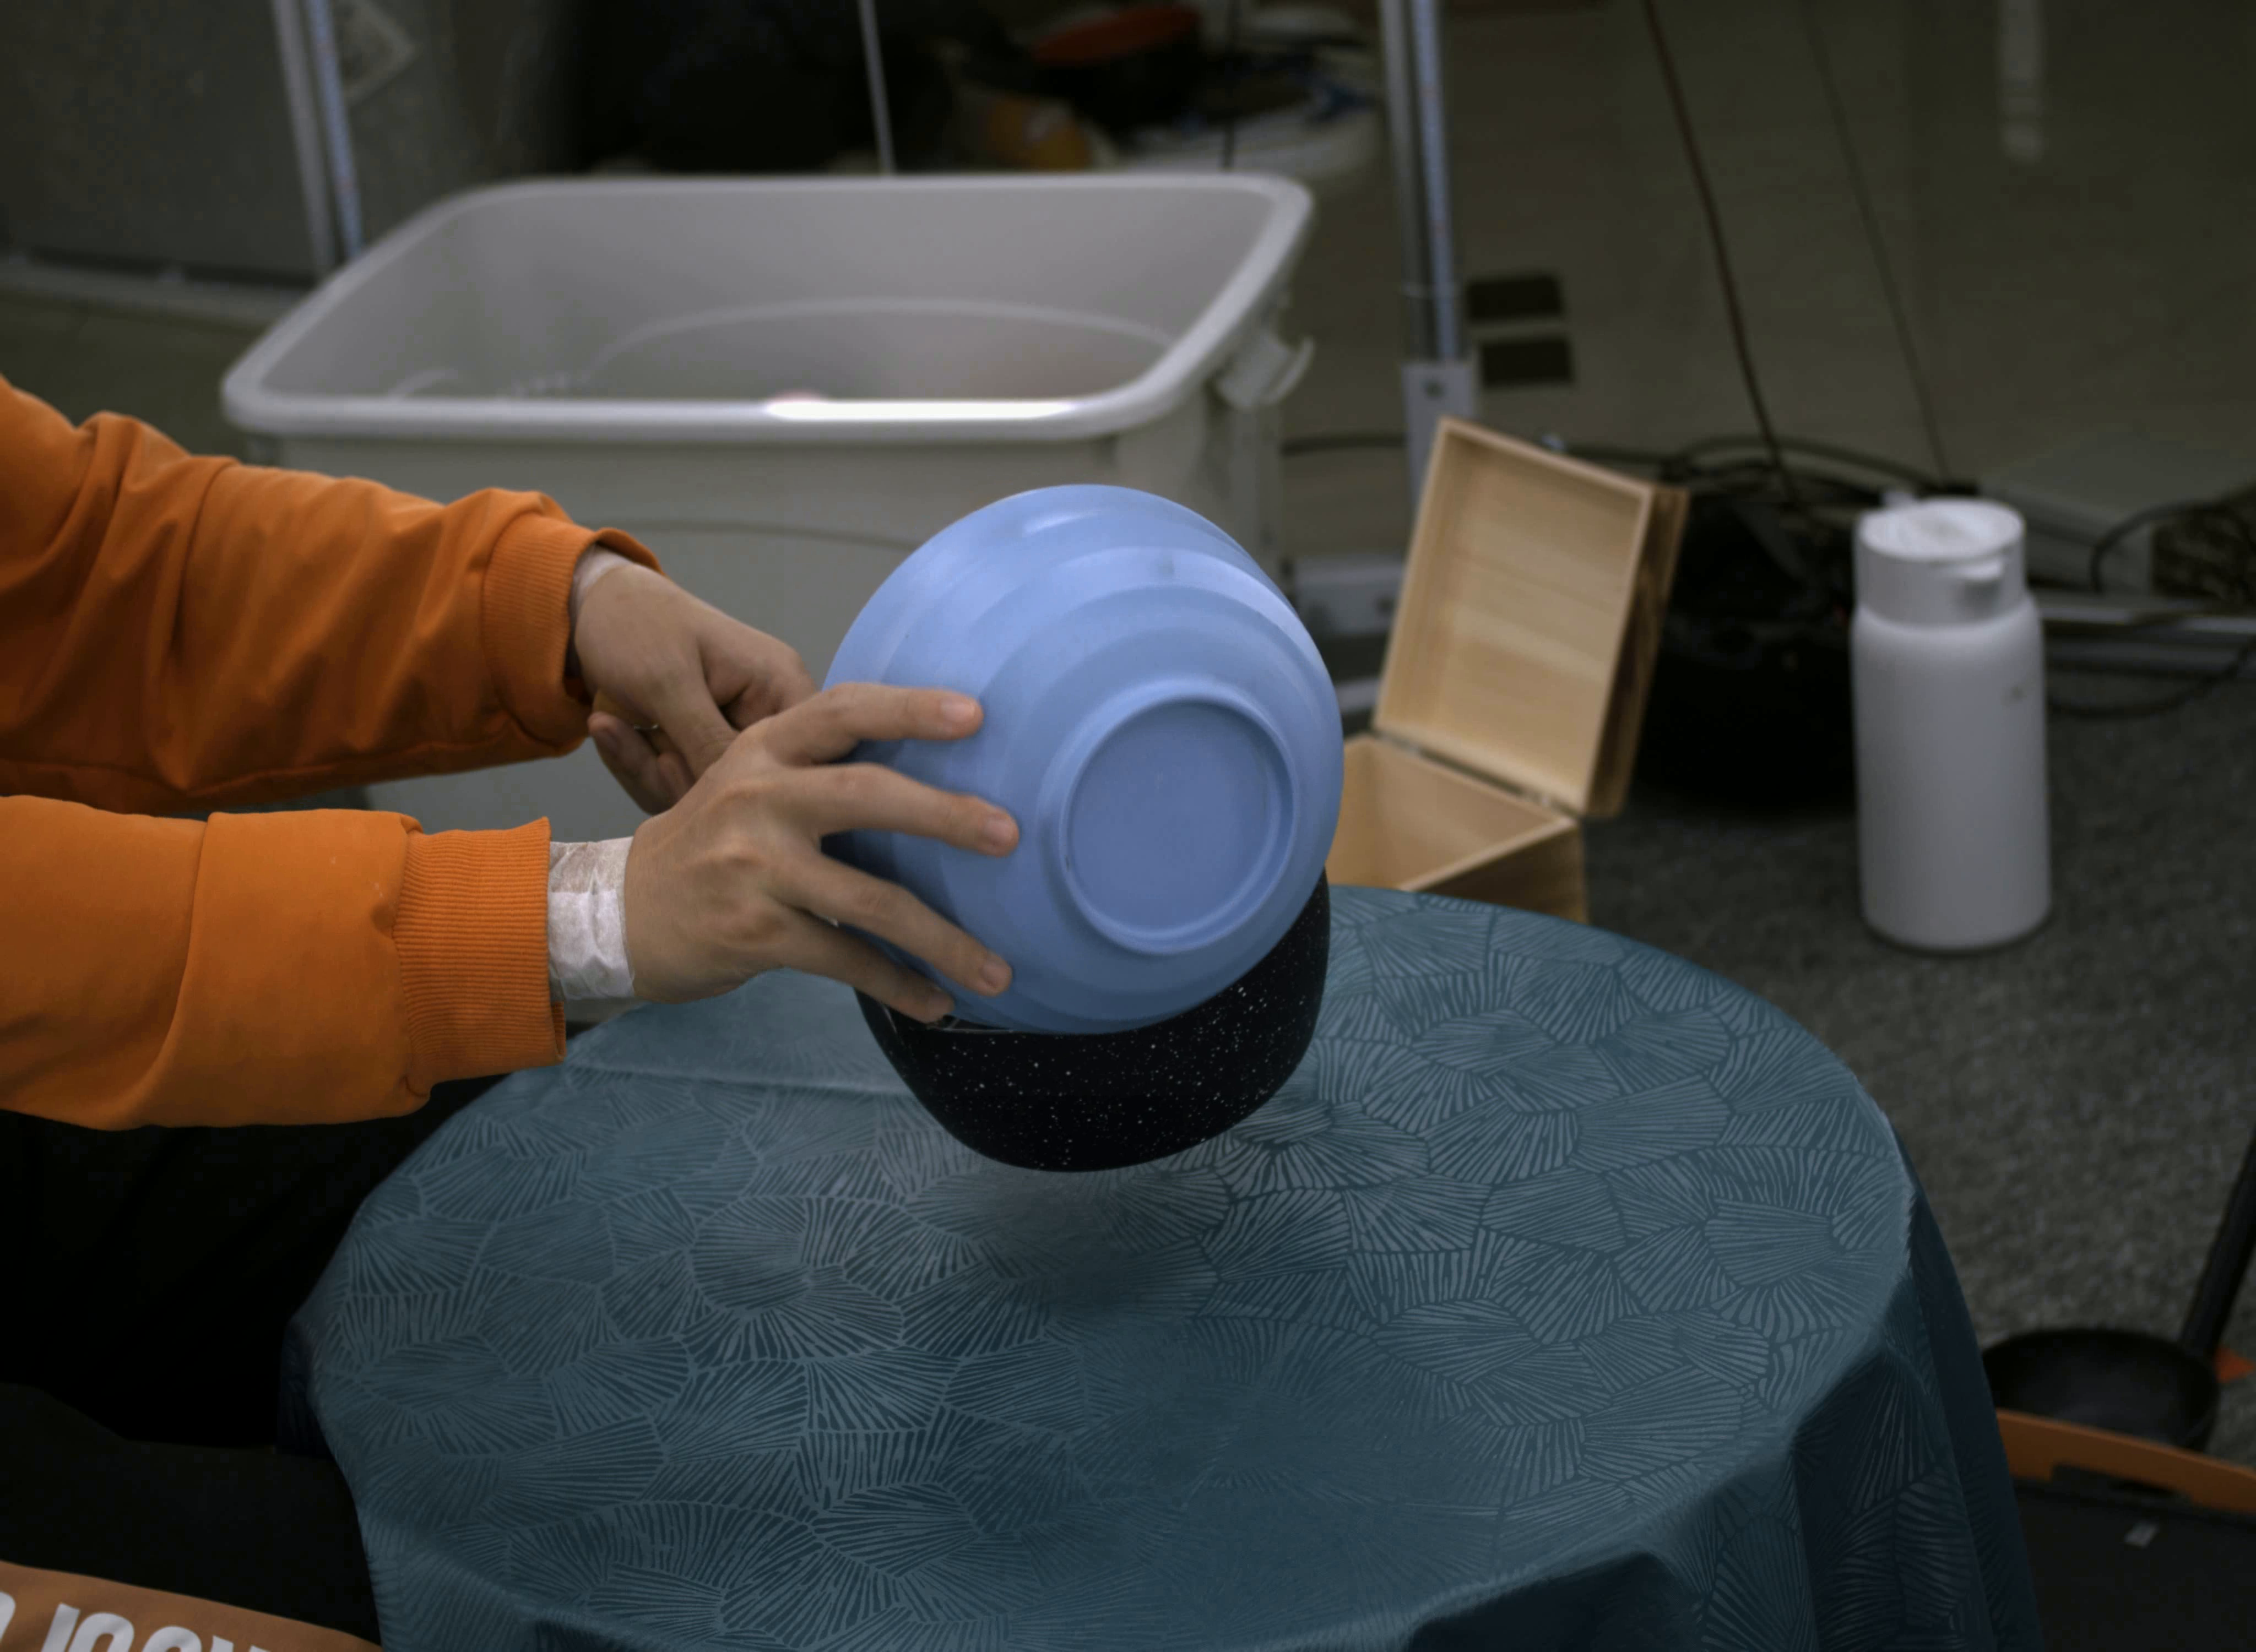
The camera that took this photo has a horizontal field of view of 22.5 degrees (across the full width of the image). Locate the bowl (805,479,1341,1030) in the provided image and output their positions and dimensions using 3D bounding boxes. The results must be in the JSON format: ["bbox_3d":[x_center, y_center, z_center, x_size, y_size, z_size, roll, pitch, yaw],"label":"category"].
[{"bbox_3d":[-0.003,-0.014,1.943,0.195,0.199,0.094,-17,23,-22],"label":"bowl"}]

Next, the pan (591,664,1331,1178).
[{"bbox_3d":[-0.074,0.025,2.177,0.340,0.110,0.205,18,48,36],"label":"pan"}]
